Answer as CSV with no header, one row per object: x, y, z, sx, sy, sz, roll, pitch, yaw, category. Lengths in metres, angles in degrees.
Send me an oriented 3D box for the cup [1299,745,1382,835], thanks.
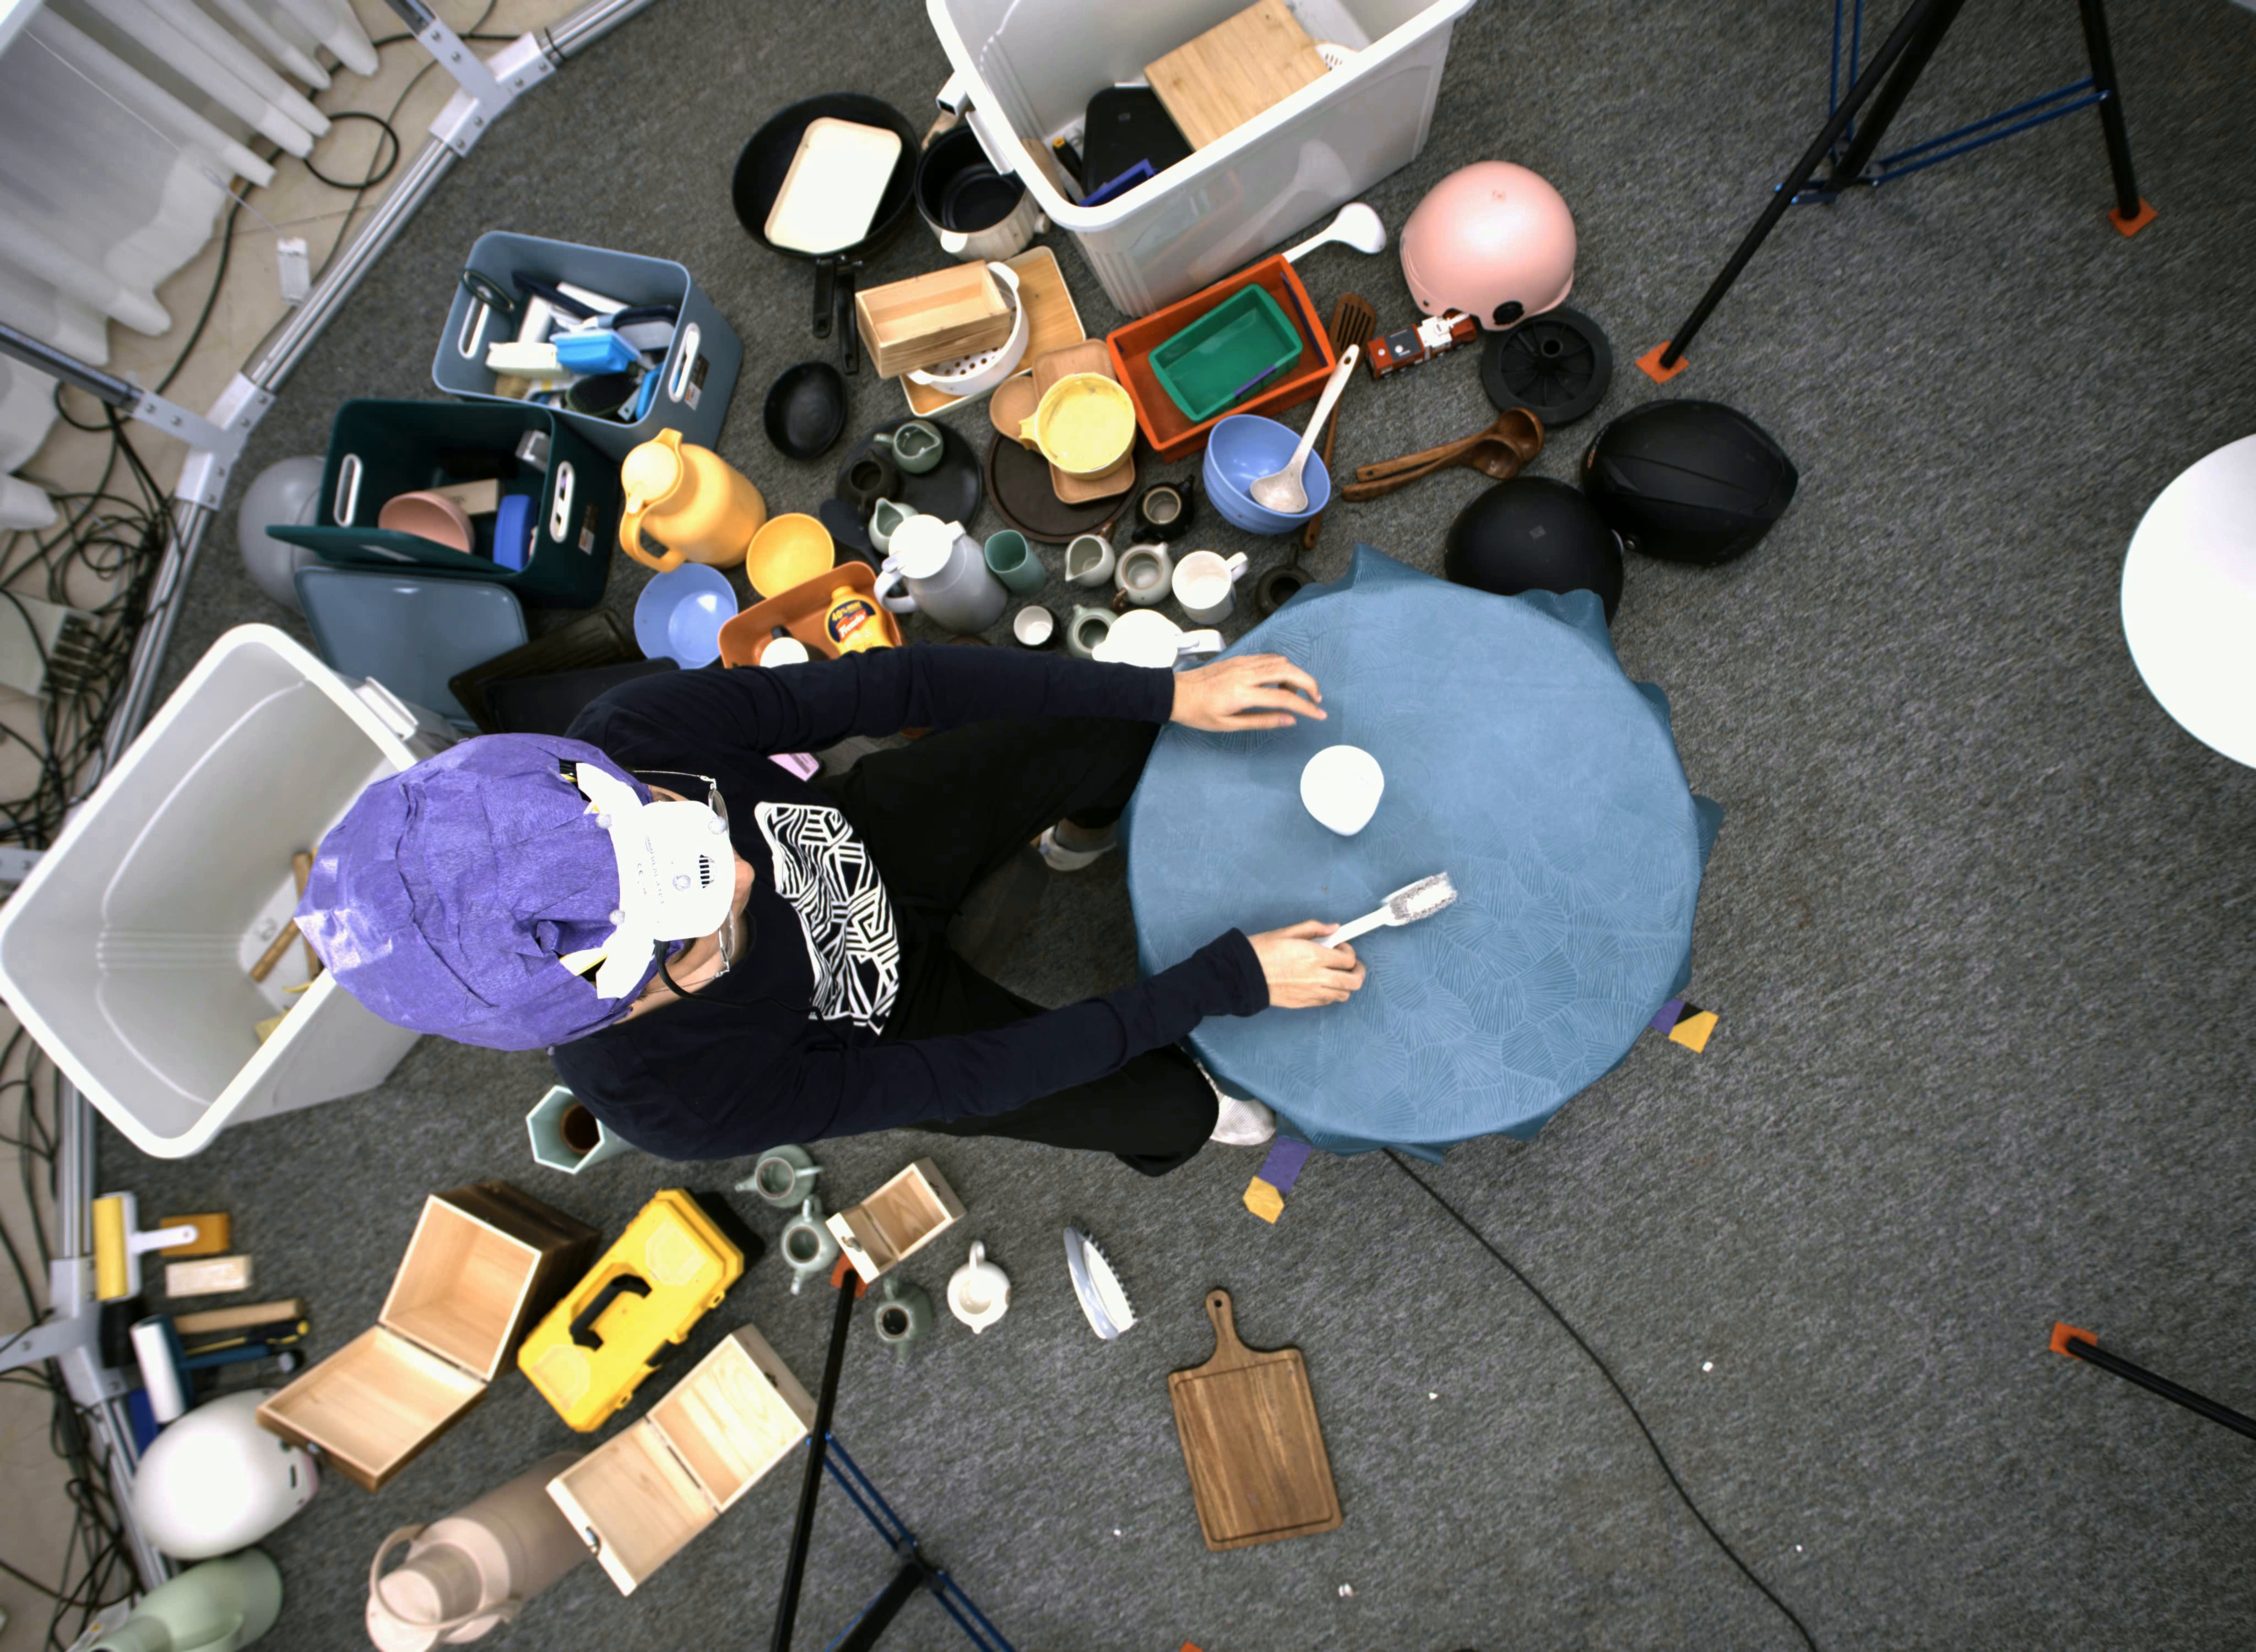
0.219,-0.034,1.411,0.082,0.125,0.081,-1,85,11,cup

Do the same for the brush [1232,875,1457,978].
0.222,0.106,1.431,0.244,0.050,0.034,-22,93,3,brush
